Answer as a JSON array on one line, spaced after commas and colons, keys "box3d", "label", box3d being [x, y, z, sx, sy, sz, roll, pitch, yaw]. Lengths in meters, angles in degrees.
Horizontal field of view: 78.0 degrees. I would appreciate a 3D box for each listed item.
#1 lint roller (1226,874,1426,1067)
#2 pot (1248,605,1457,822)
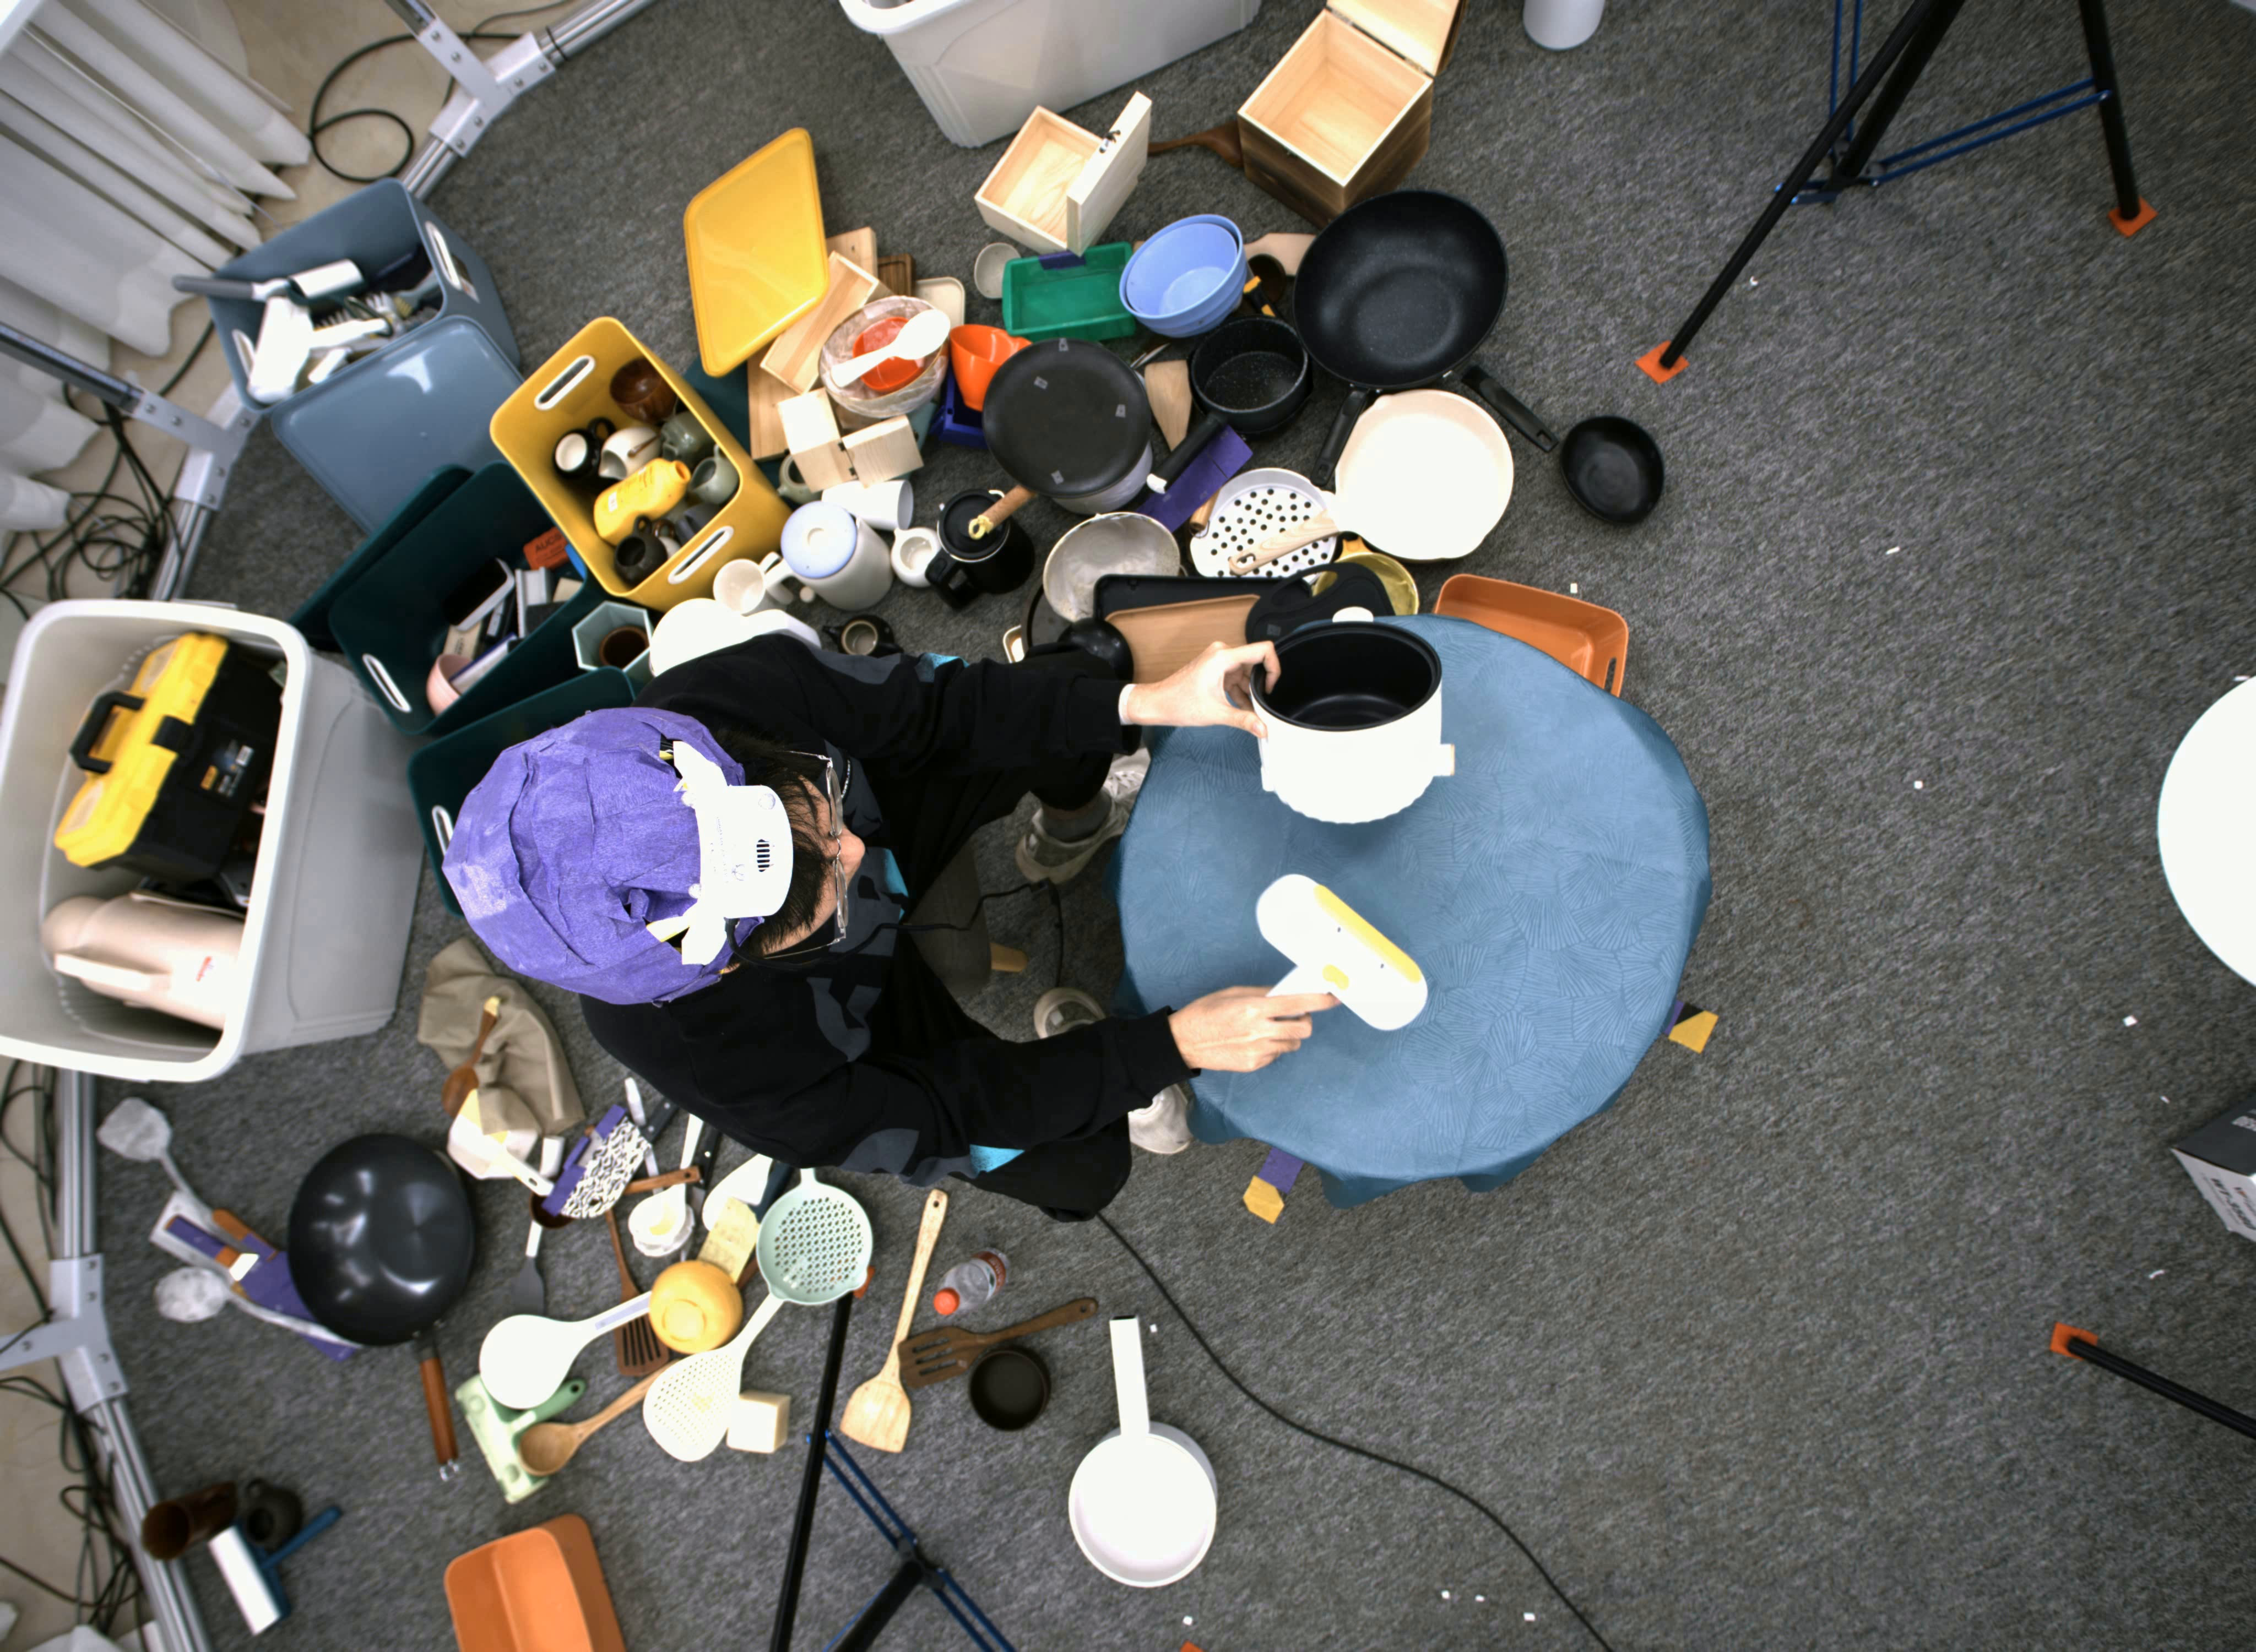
[{"box3d": [0.166, 0.160, 1.349, 0.194, 0.072, 0.196, 35, 122, -16], "label": "lint roller"}, {"box3d": [0.220, -0.099, 1.337, 0.191, 0.146, 0.234, -2, 43, 16], "label": "pot"}]
